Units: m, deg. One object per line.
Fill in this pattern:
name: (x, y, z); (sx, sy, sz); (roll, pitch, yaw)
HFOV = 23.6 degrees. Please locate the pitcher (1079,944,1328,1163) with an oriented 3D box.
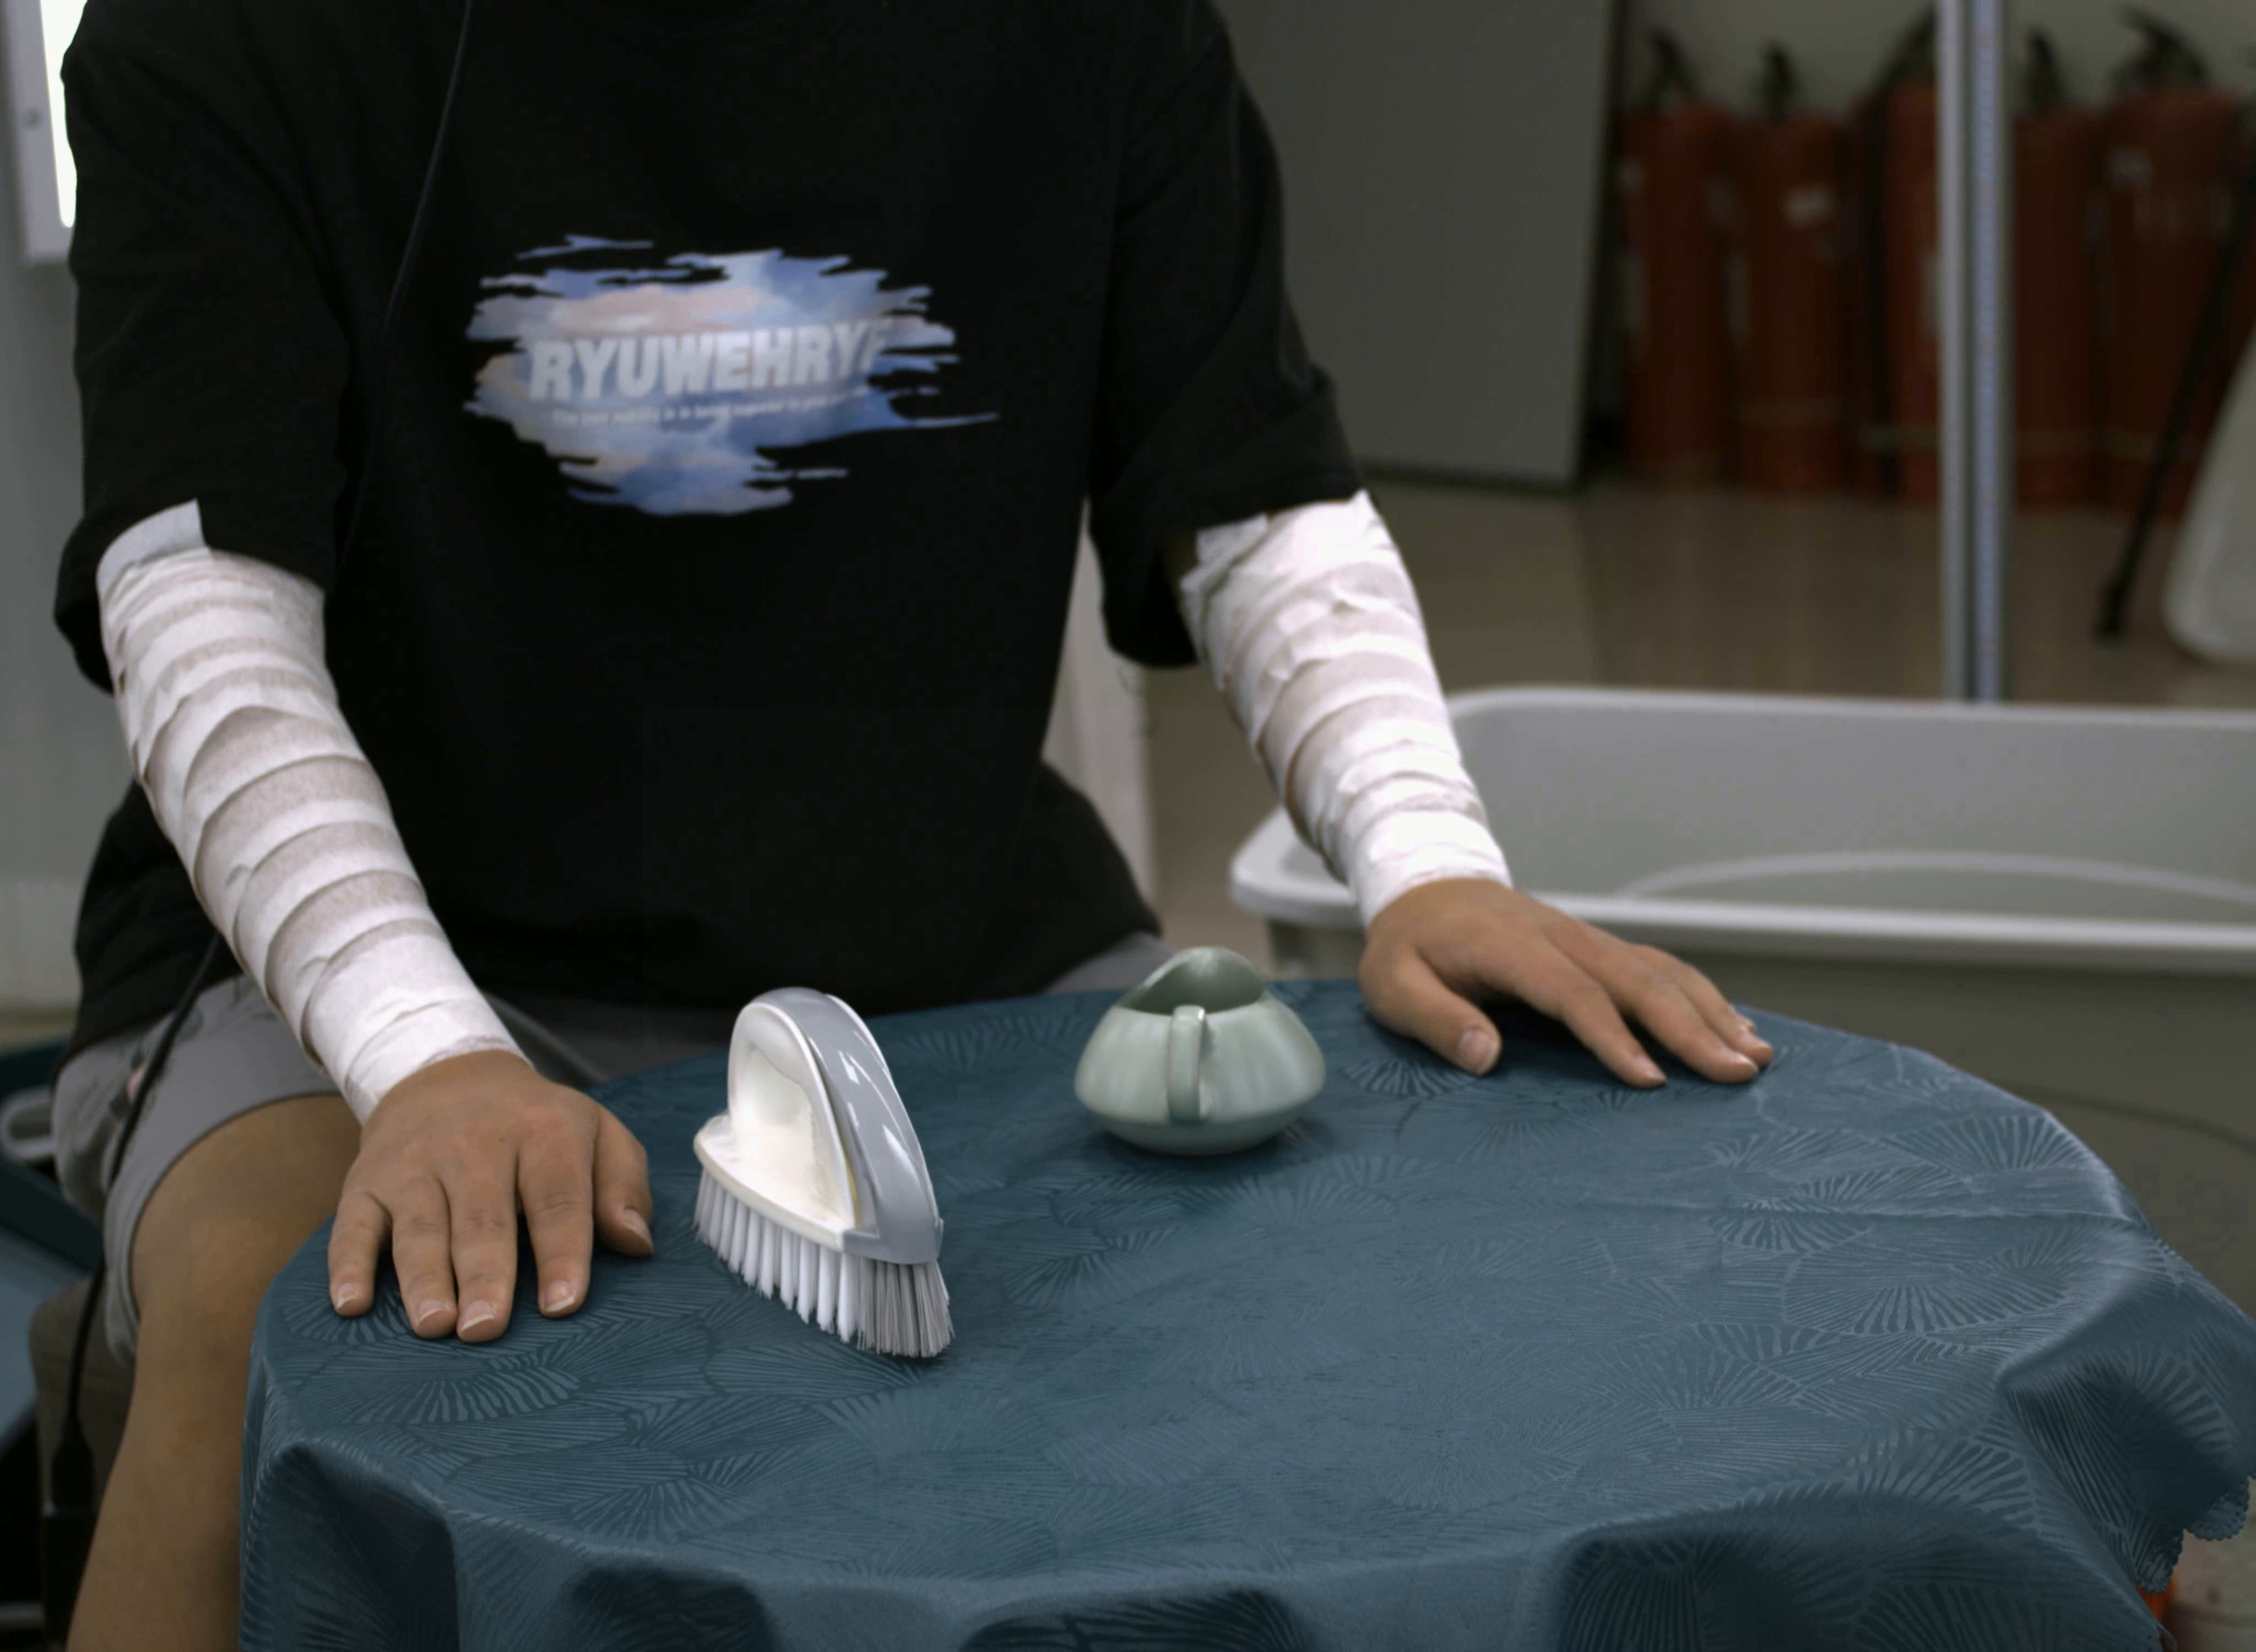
pitcher: (0.025, 0.082, 1.810); (0.085, 0.061, 0.108); (-4, 16, 4)

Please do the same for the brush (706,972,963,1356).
brush: (-0.088, 0.101, 1.689); (0.060, 0.095, 0.177); (-11, 17, -17)
